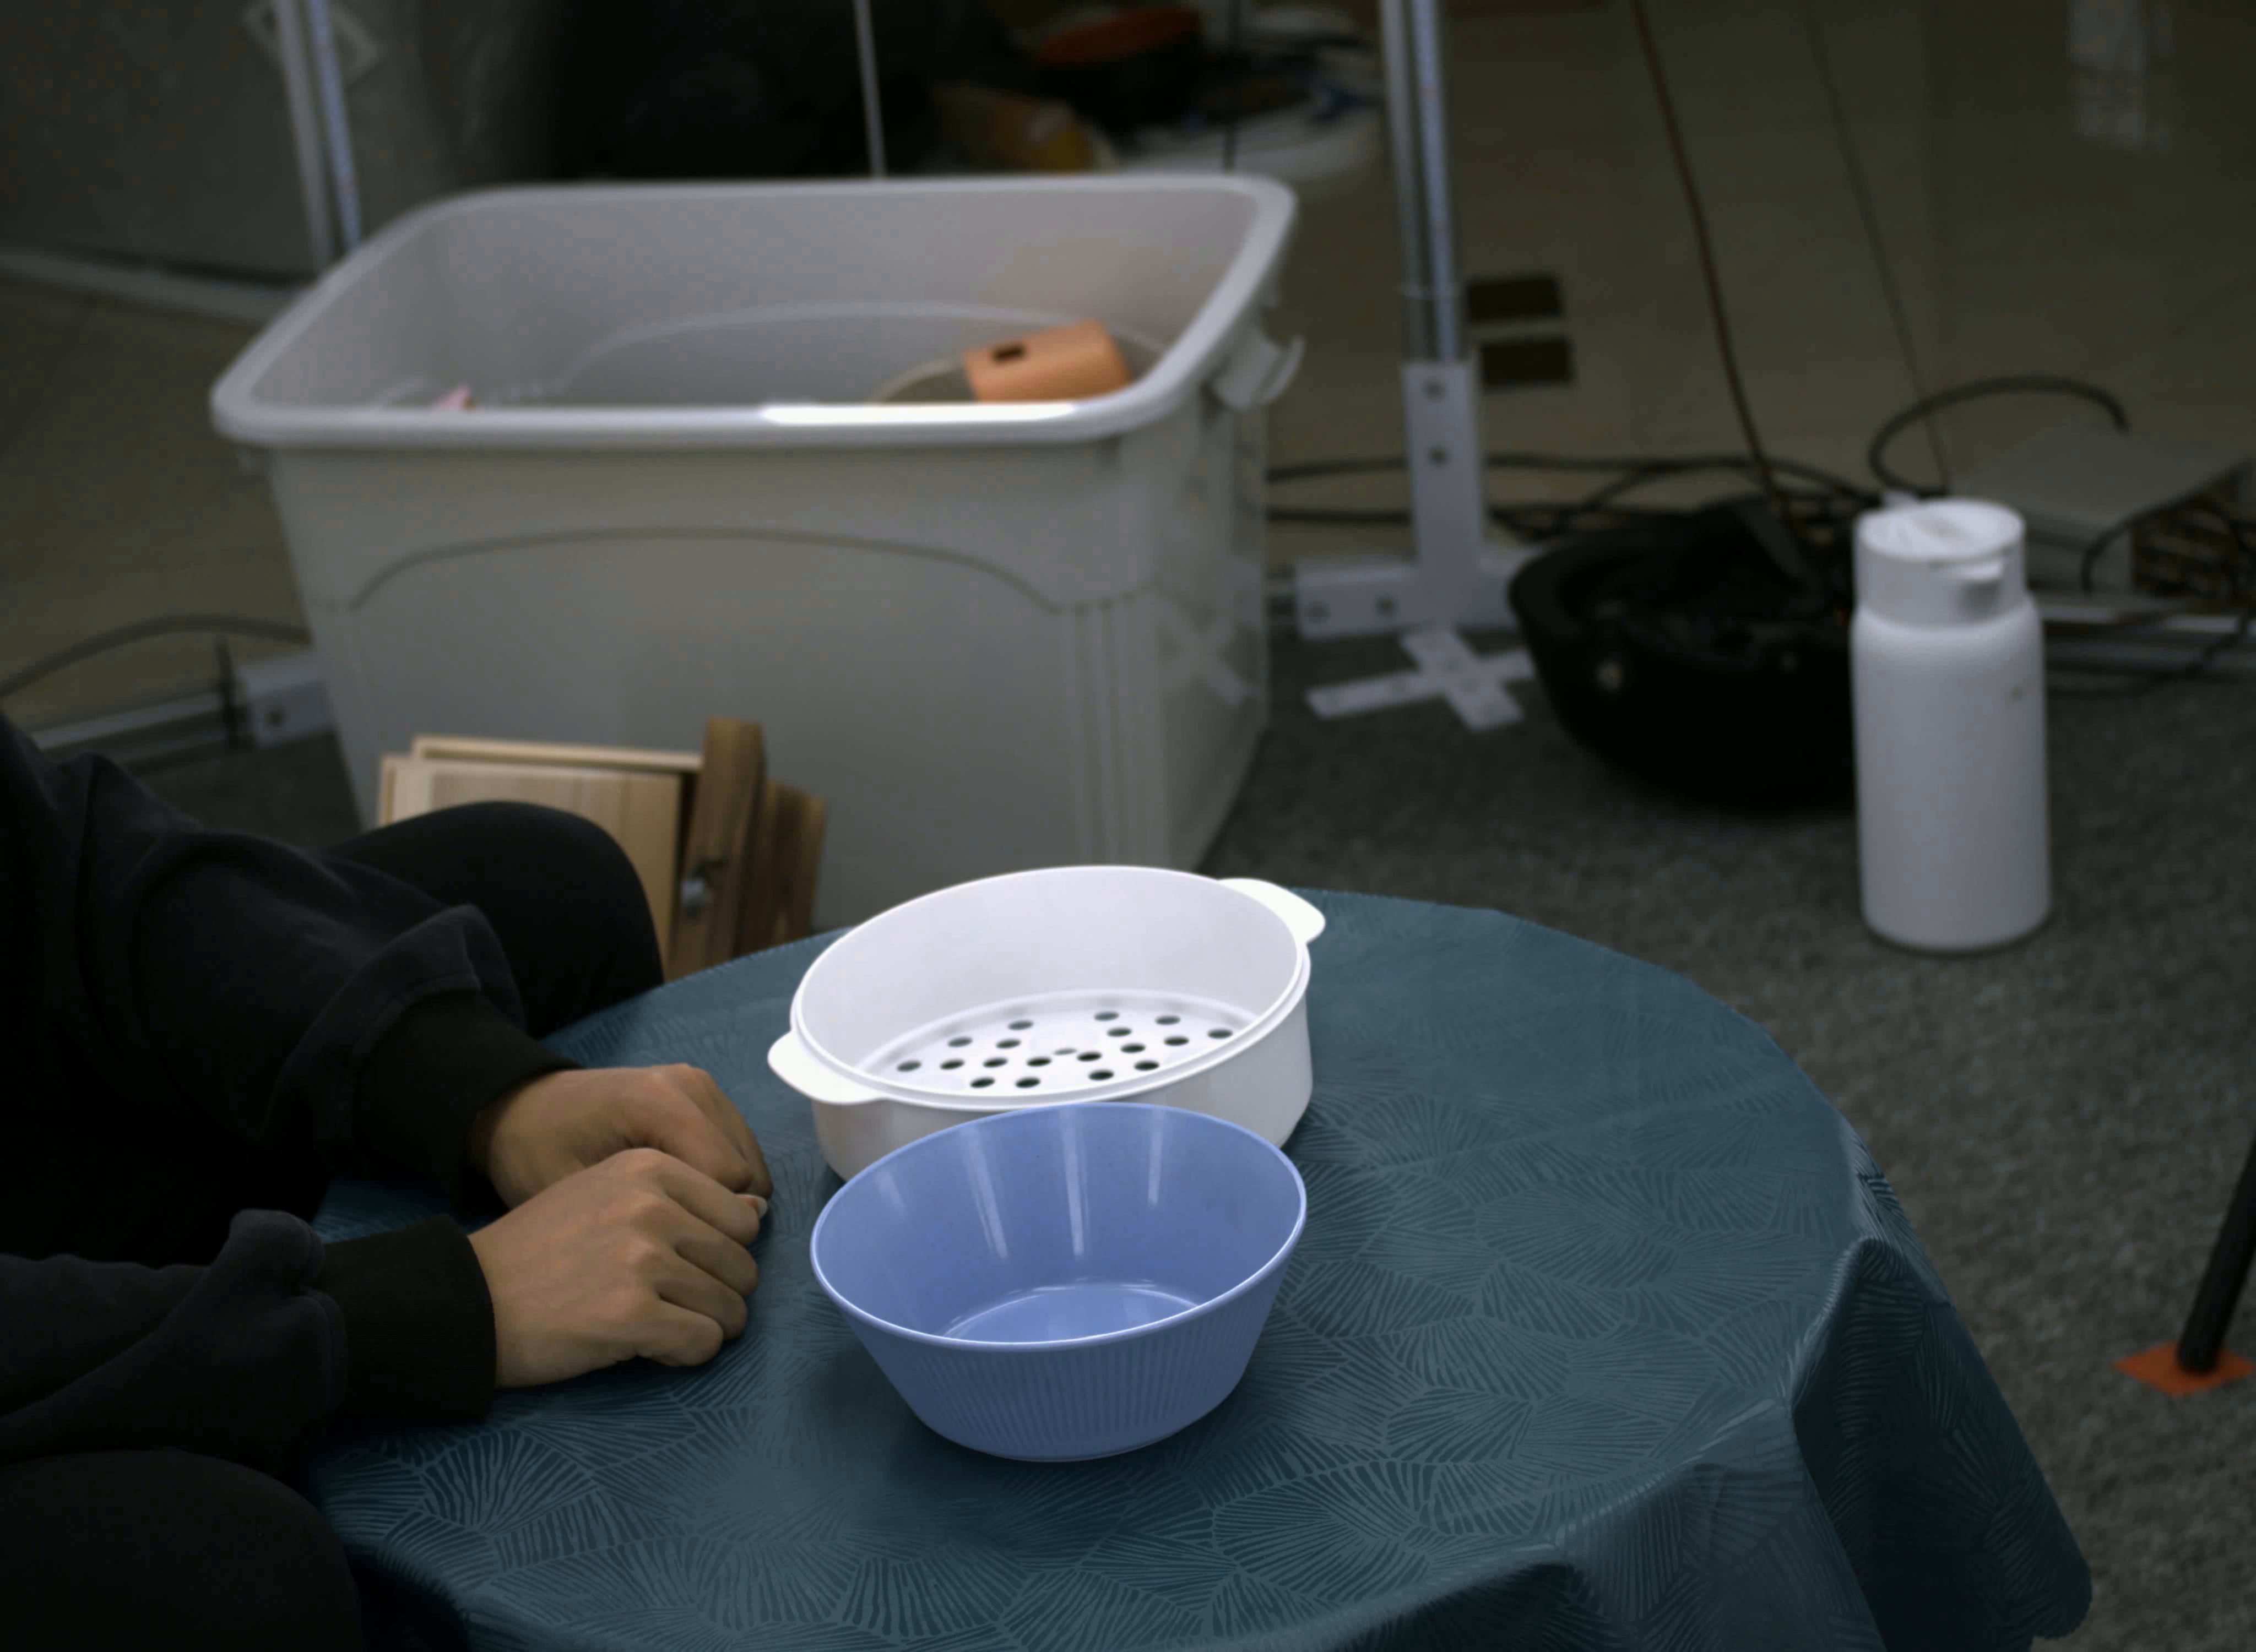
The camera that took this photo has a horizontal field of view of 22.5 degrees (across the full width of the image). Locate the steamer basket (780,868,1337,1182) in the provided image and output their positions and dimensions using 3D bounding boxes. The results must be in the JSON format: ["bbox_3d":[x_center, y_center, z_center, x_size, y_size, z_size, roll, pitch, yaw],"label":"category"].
[{"bbox_3d":[-0.023,0.086,2.191,0.229,0.070,0.200,-17,27,-27],"label":"steamer basket"}]

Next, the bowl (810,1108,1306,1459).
[{"bbox_3d":[-0.023,0.168,2.011,0.176,0.071,0.173,-4,25,2],"label":"bowl"}]
